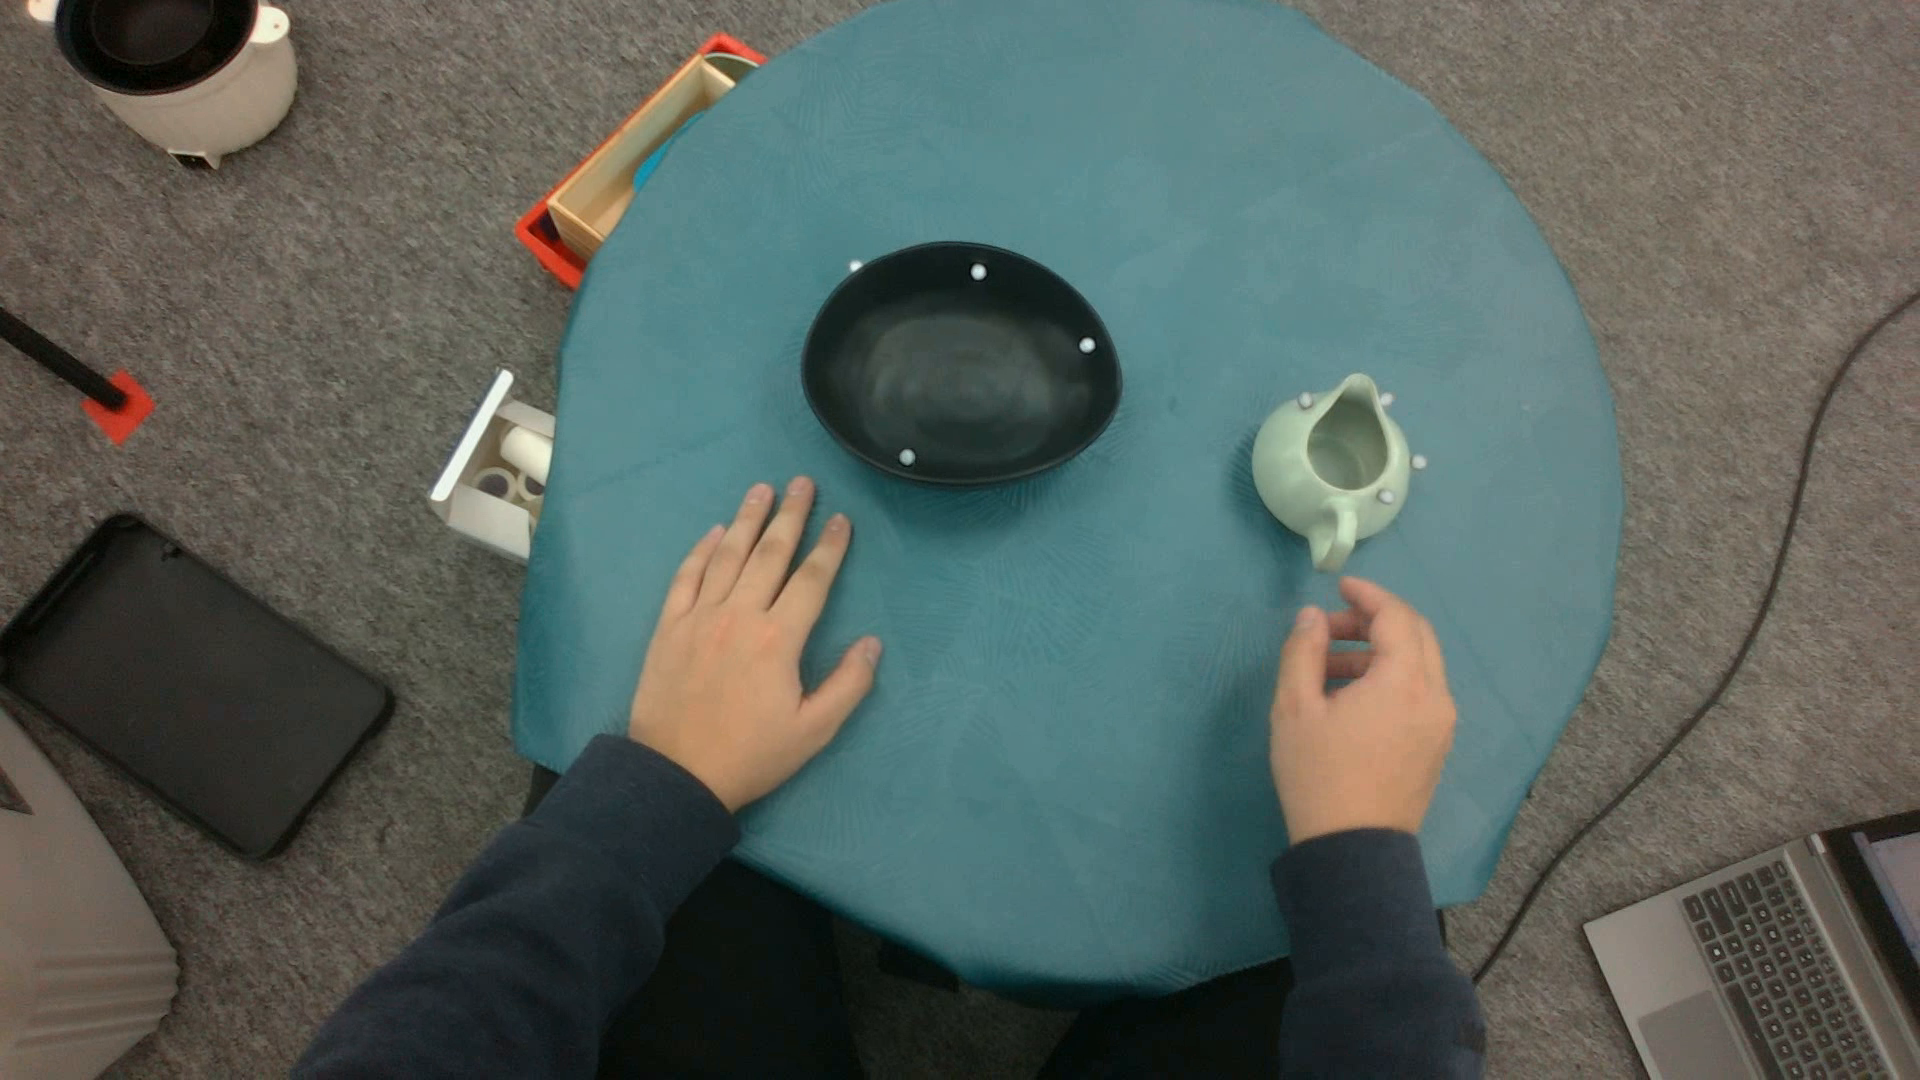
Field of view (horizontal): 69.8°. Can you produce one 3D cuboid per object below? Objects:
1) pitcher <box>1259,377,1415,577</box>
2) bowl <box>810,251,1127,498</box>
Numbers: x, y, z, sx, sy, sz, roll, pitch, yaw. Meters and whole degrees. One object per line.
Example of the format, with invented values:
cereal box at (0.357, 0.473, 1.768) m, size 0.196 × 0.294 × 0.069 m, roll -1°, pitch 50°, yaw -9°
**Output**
pitcher at (0.207, -0.030, 0.752) m, size 0.086 × 0.060 × 0.108 m, roll 8°, pitch 75°, yaw 1°
bowl at (0.005, -0.083, 0.753) m, size 0.170 × 0.066 × 0.137 m, roll 2°, pitch 74°, yaw -3°
